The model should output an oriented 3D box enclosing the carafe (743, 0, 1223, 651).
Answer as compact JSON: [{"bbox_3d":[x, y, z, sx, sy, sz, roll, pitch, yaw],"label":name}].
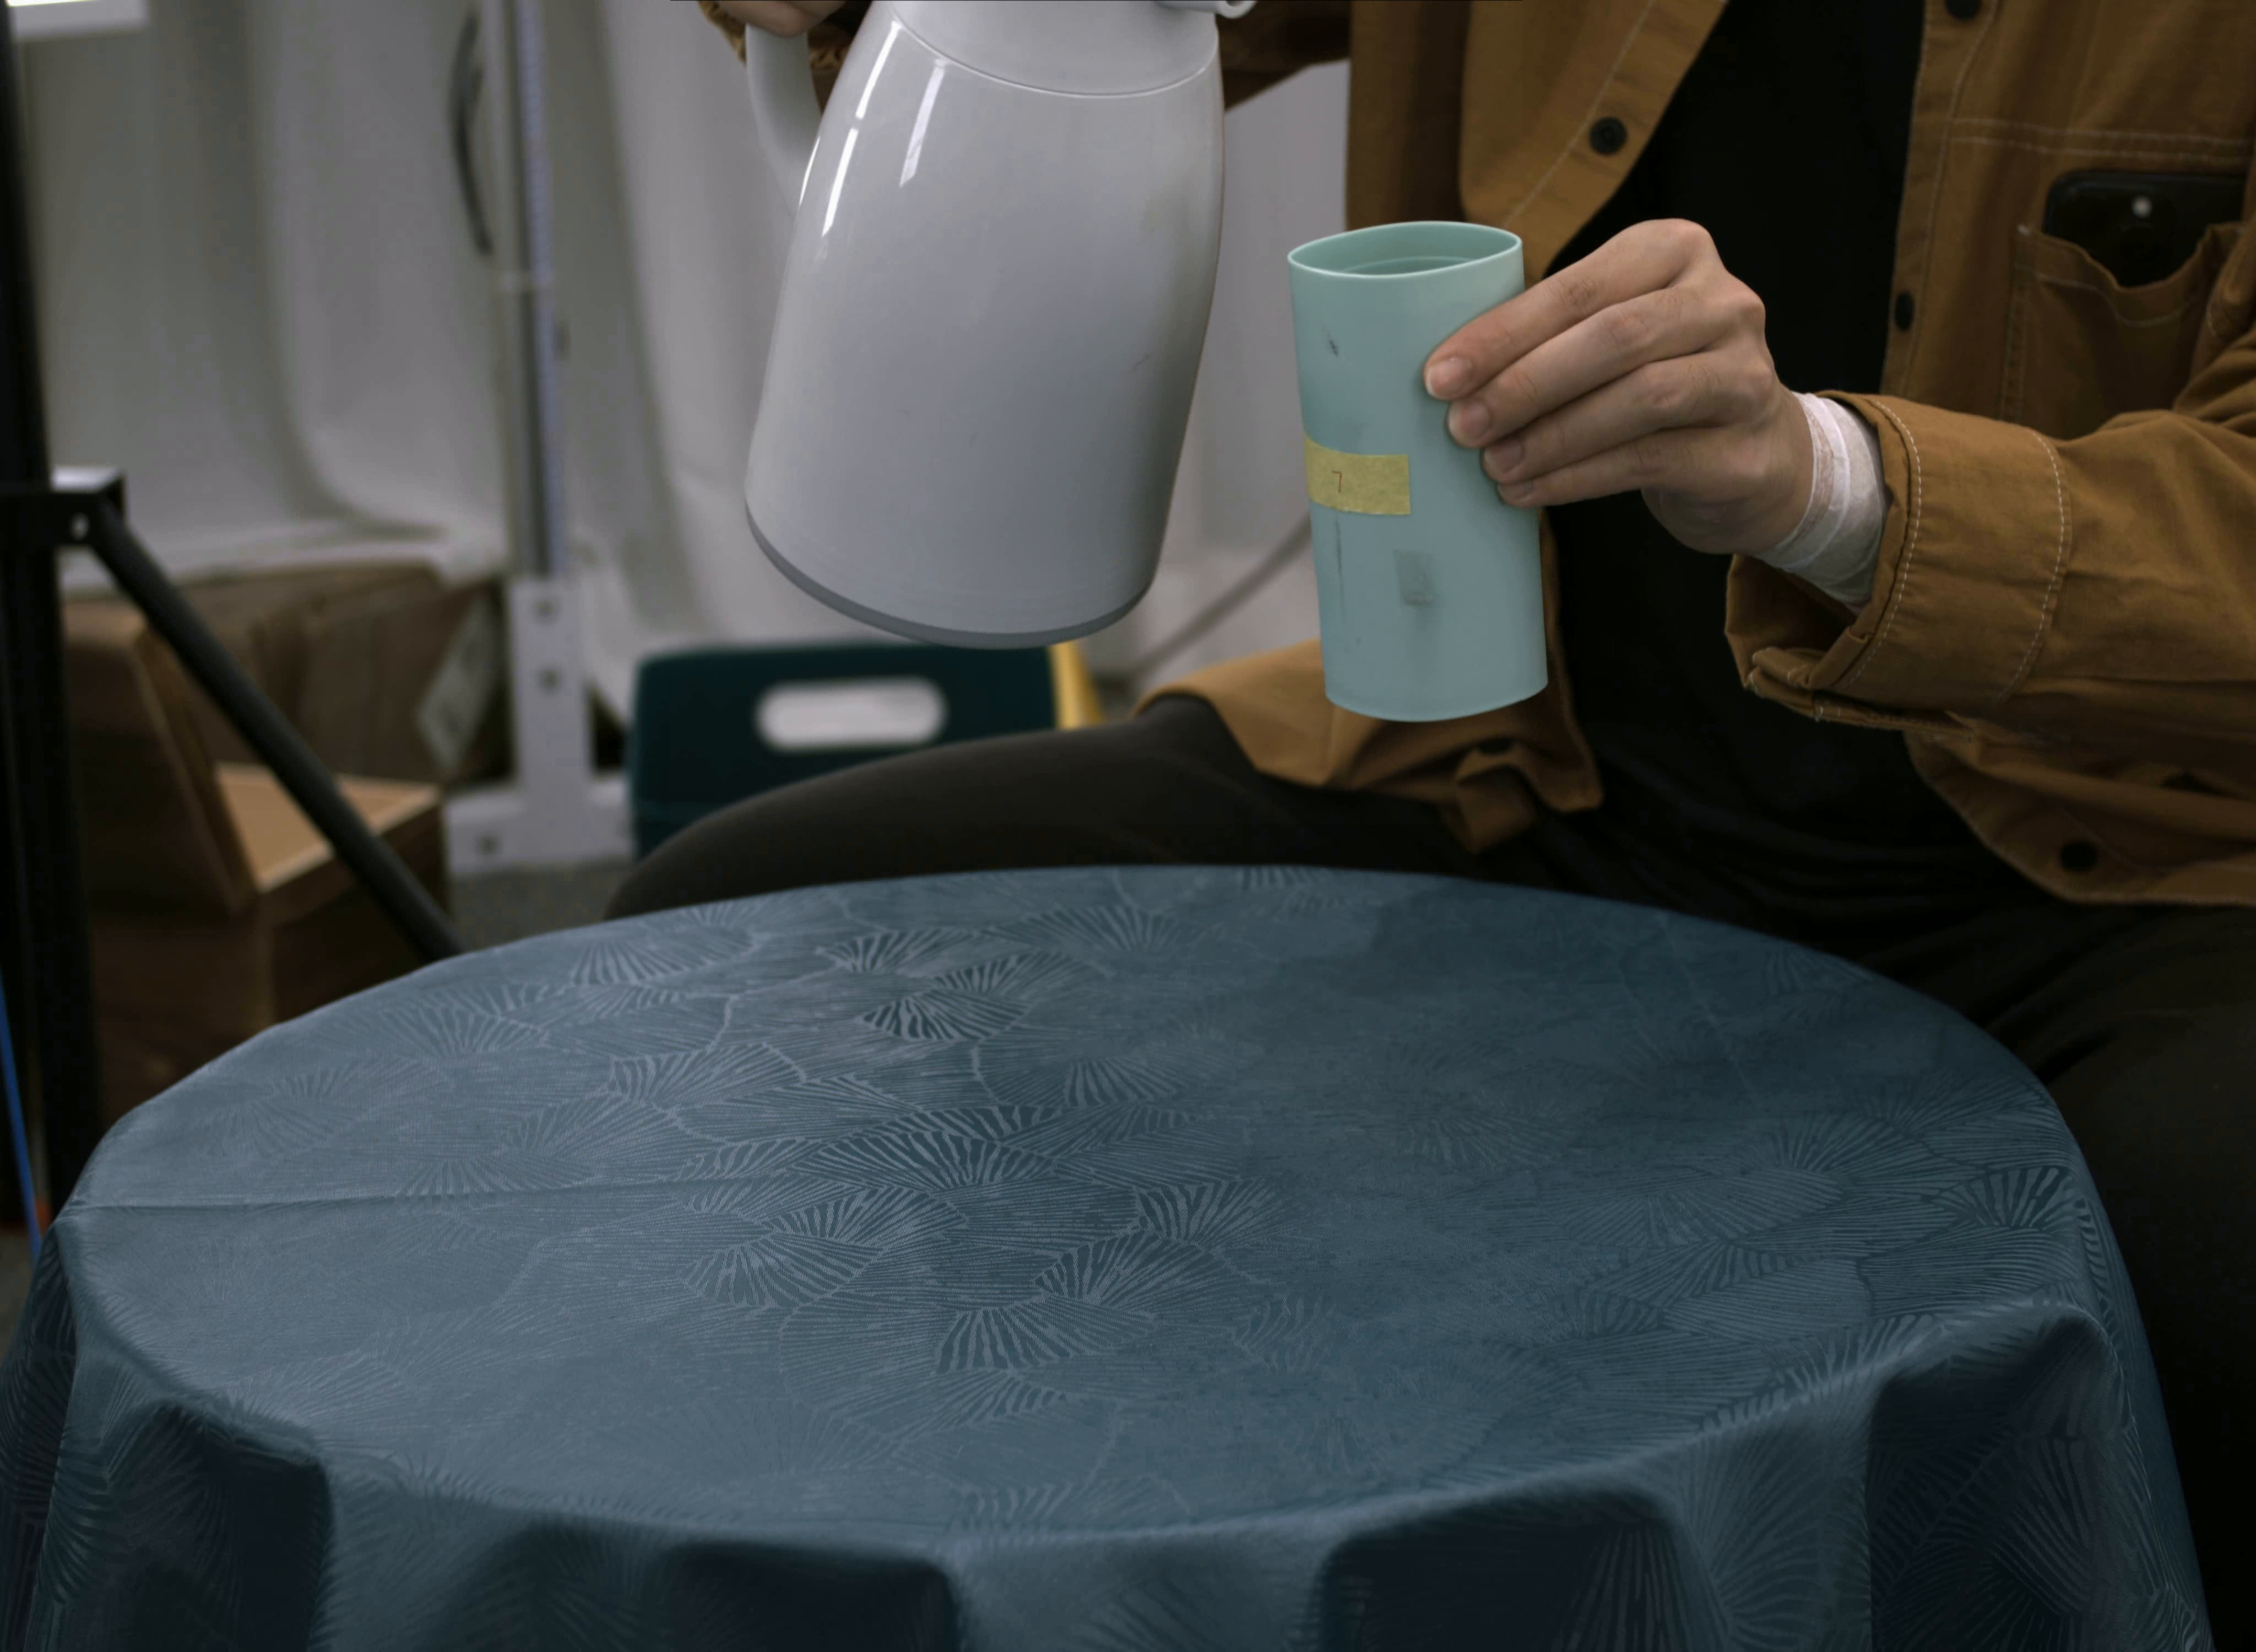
[{"bbox_3d":[-0.049,-0.199,1.603,0.170,0.248,0.130,30,39,26],"label":"carafe"}]

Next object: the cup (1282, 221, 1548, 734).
[{"bbox_3d":[0.083,-0.099,1.509,0.066,0.132,0.067,-6,19,1],"label":"cup"}]
